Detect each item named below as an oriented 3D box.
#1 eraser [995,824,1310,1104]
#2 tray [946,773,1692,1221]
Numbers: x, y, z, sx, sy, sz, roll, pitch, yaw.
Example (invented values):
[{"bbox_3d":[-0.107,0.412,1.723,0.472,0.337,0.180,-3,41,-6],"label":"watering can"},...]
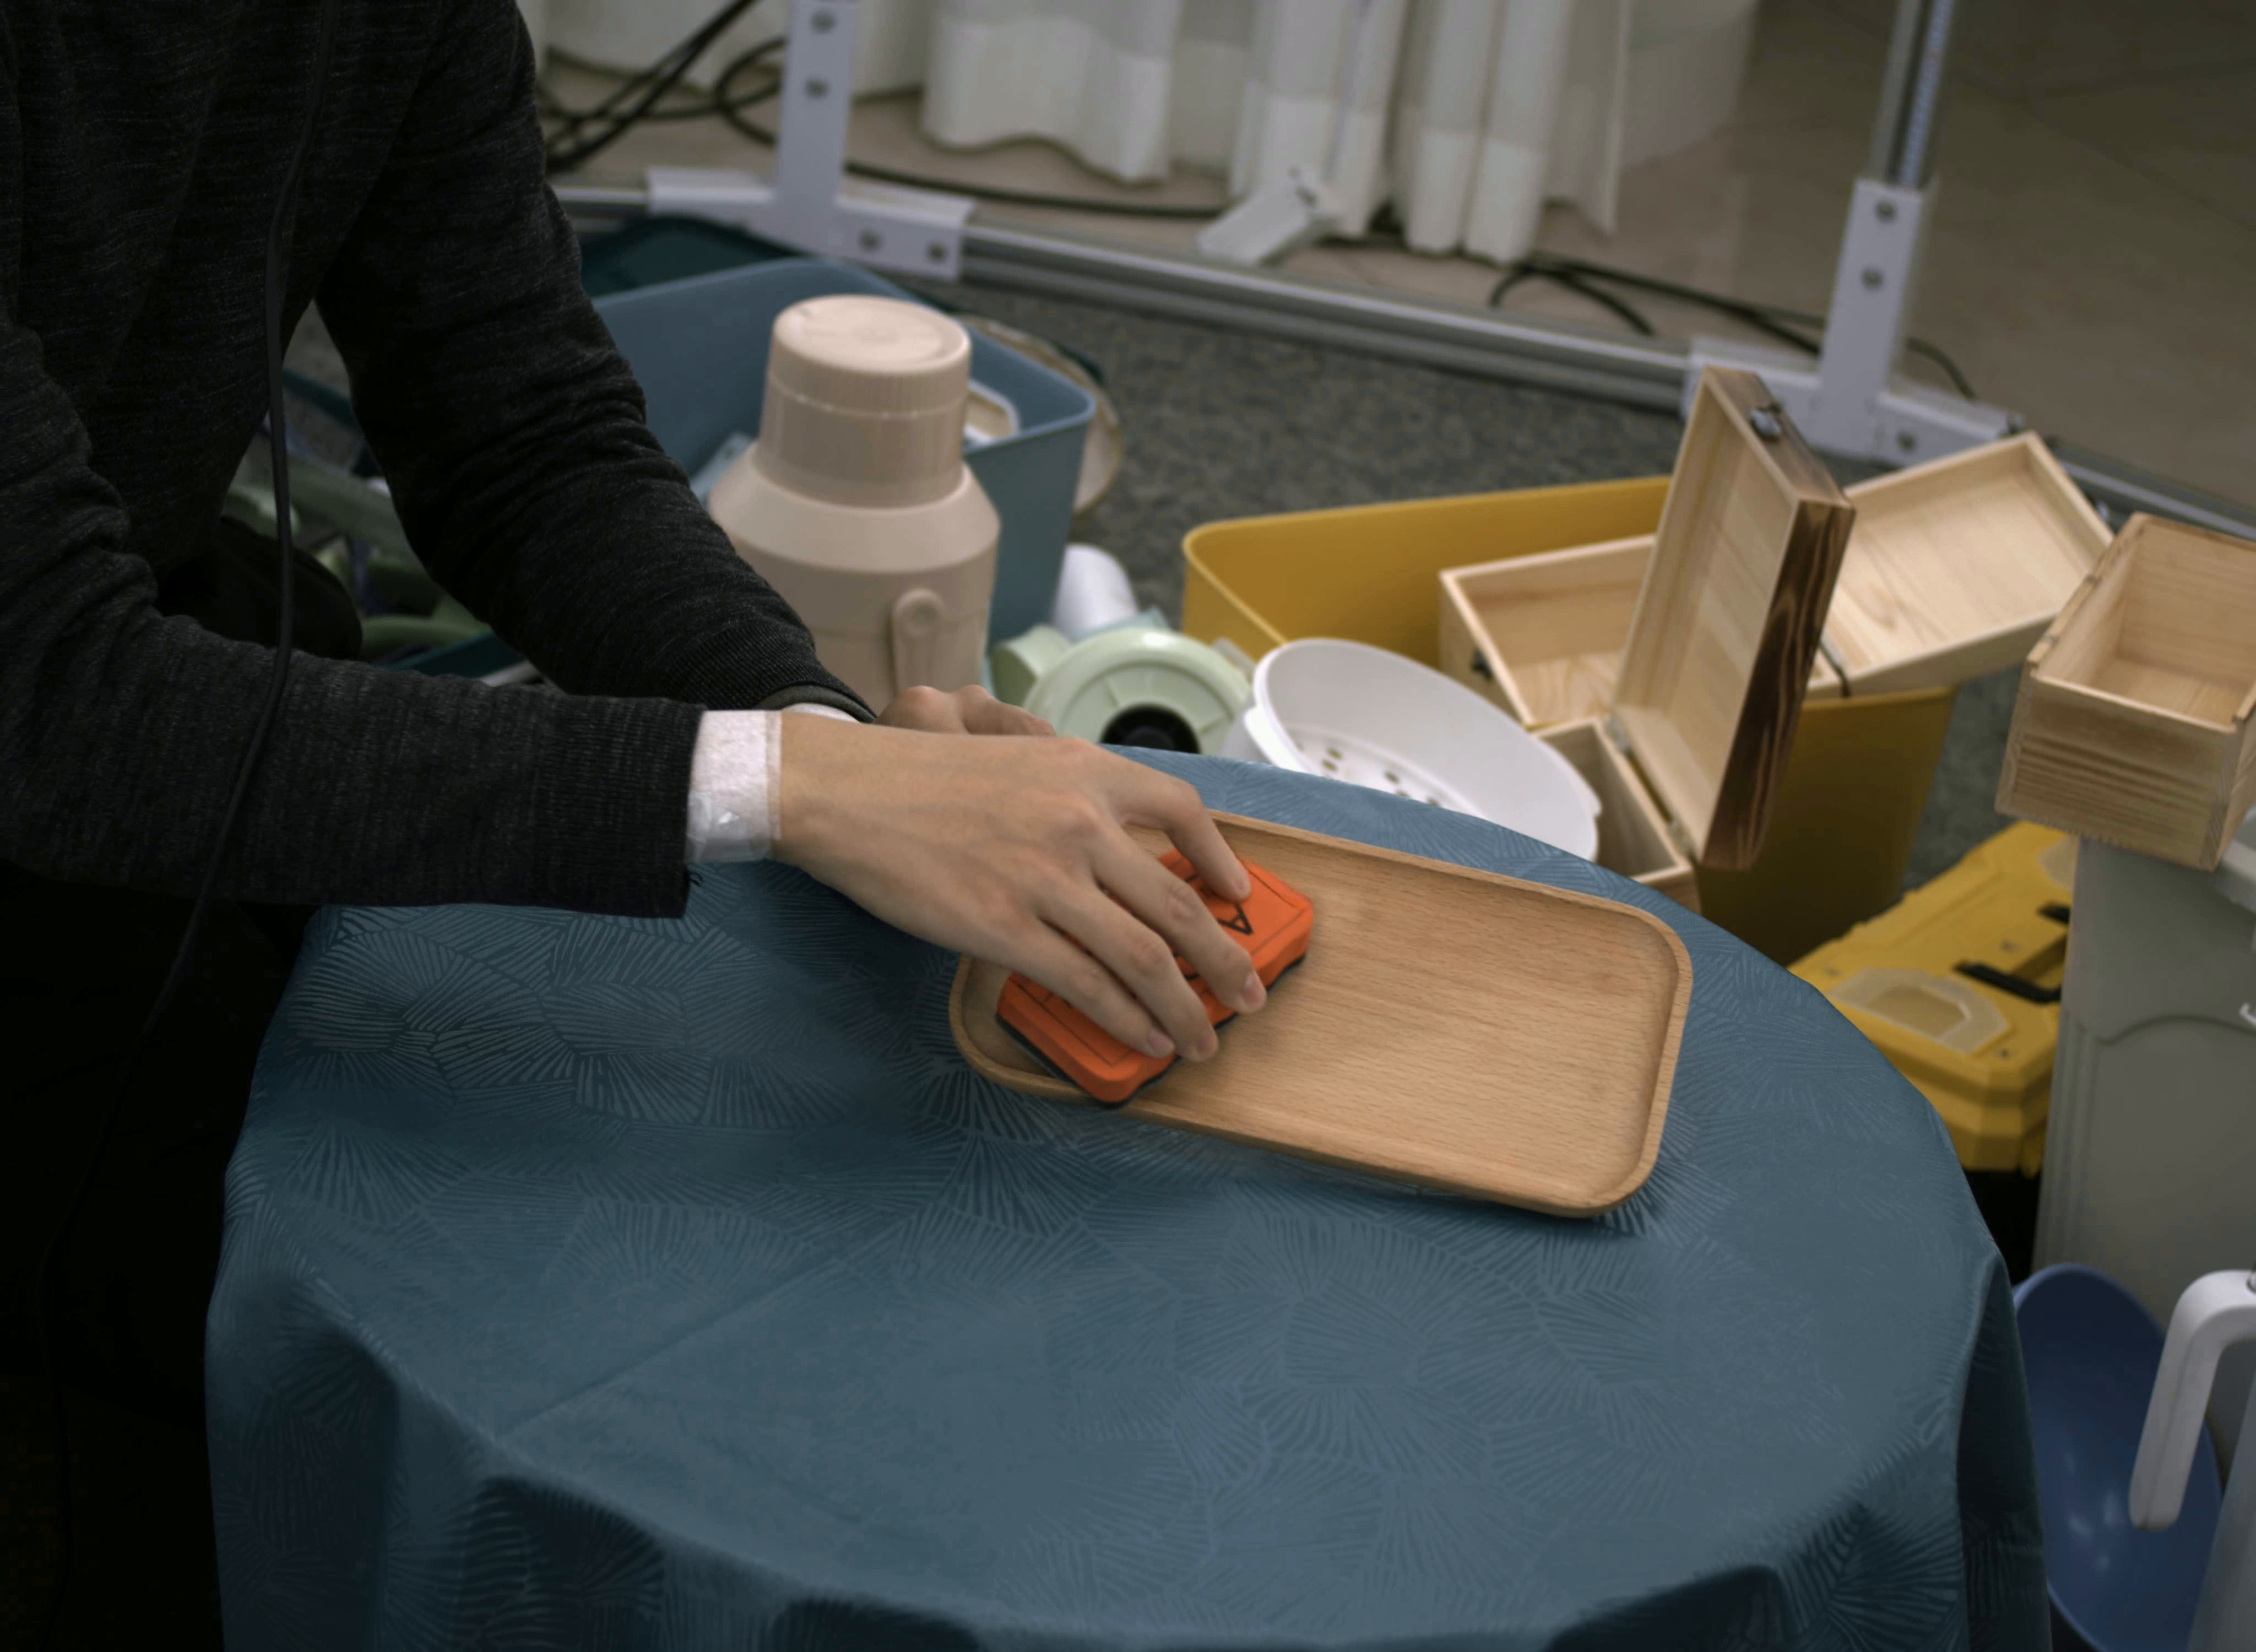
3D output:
[{"bbox_3d":[0.009,0.047,1.839,0.108,0.023,0.059,-36,62,-28],"label":"eraser"},{"bbox_3d":[0.067,0.060,1.851,0.250,0.023,0.131,13,54,6],"label":"tray"}]
